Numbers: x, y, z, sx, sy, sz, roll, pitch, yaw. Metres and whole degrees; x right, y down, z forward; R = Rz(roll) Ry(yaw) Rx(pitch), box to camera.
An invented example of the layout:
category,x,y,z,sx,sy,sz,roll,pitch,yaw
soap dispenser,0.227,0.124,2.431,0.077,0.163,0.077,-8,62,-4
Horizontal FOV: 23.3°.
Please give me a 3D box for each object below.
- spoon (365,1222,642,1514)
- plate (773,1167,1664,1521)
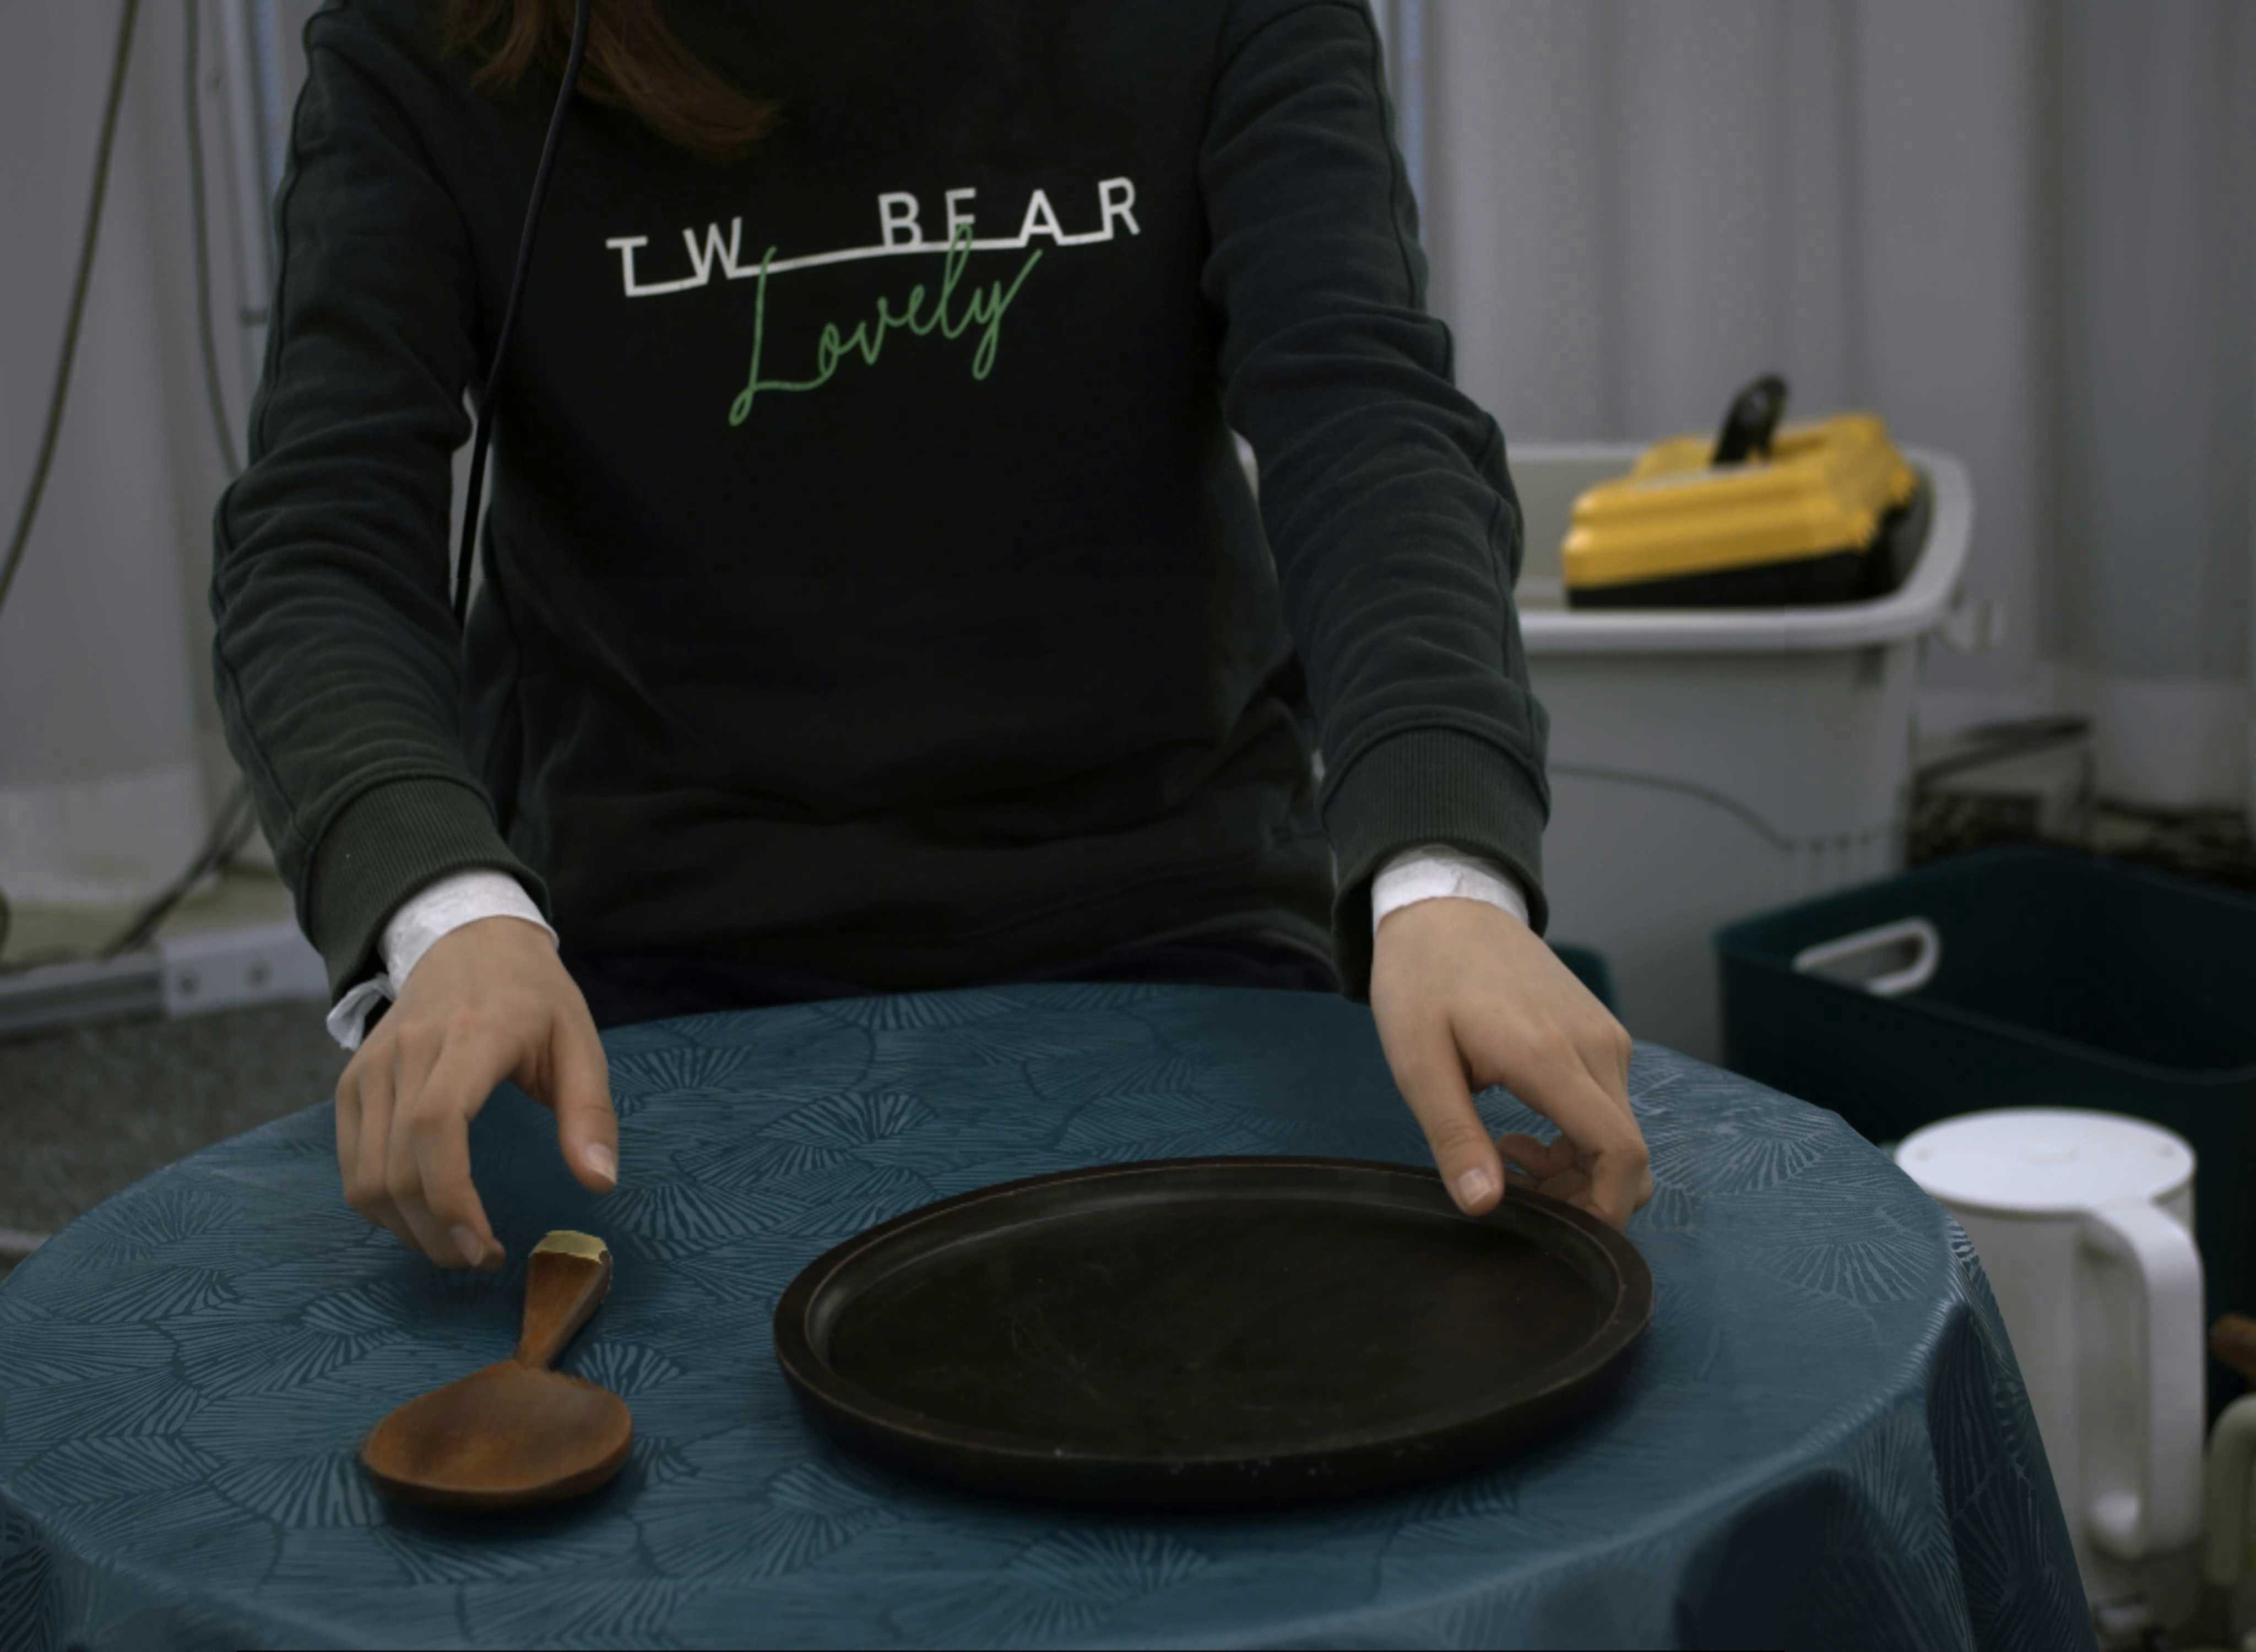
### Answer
category,x,y,z,sx,sy,sz,roll,pitch,yaw
spoon,-0.170,0.156,1.559,0.075,0.017,0.217,-3,15,2
plate,0.025,0.144,1.557,0.254,0.029,0.256,-2,16,0
